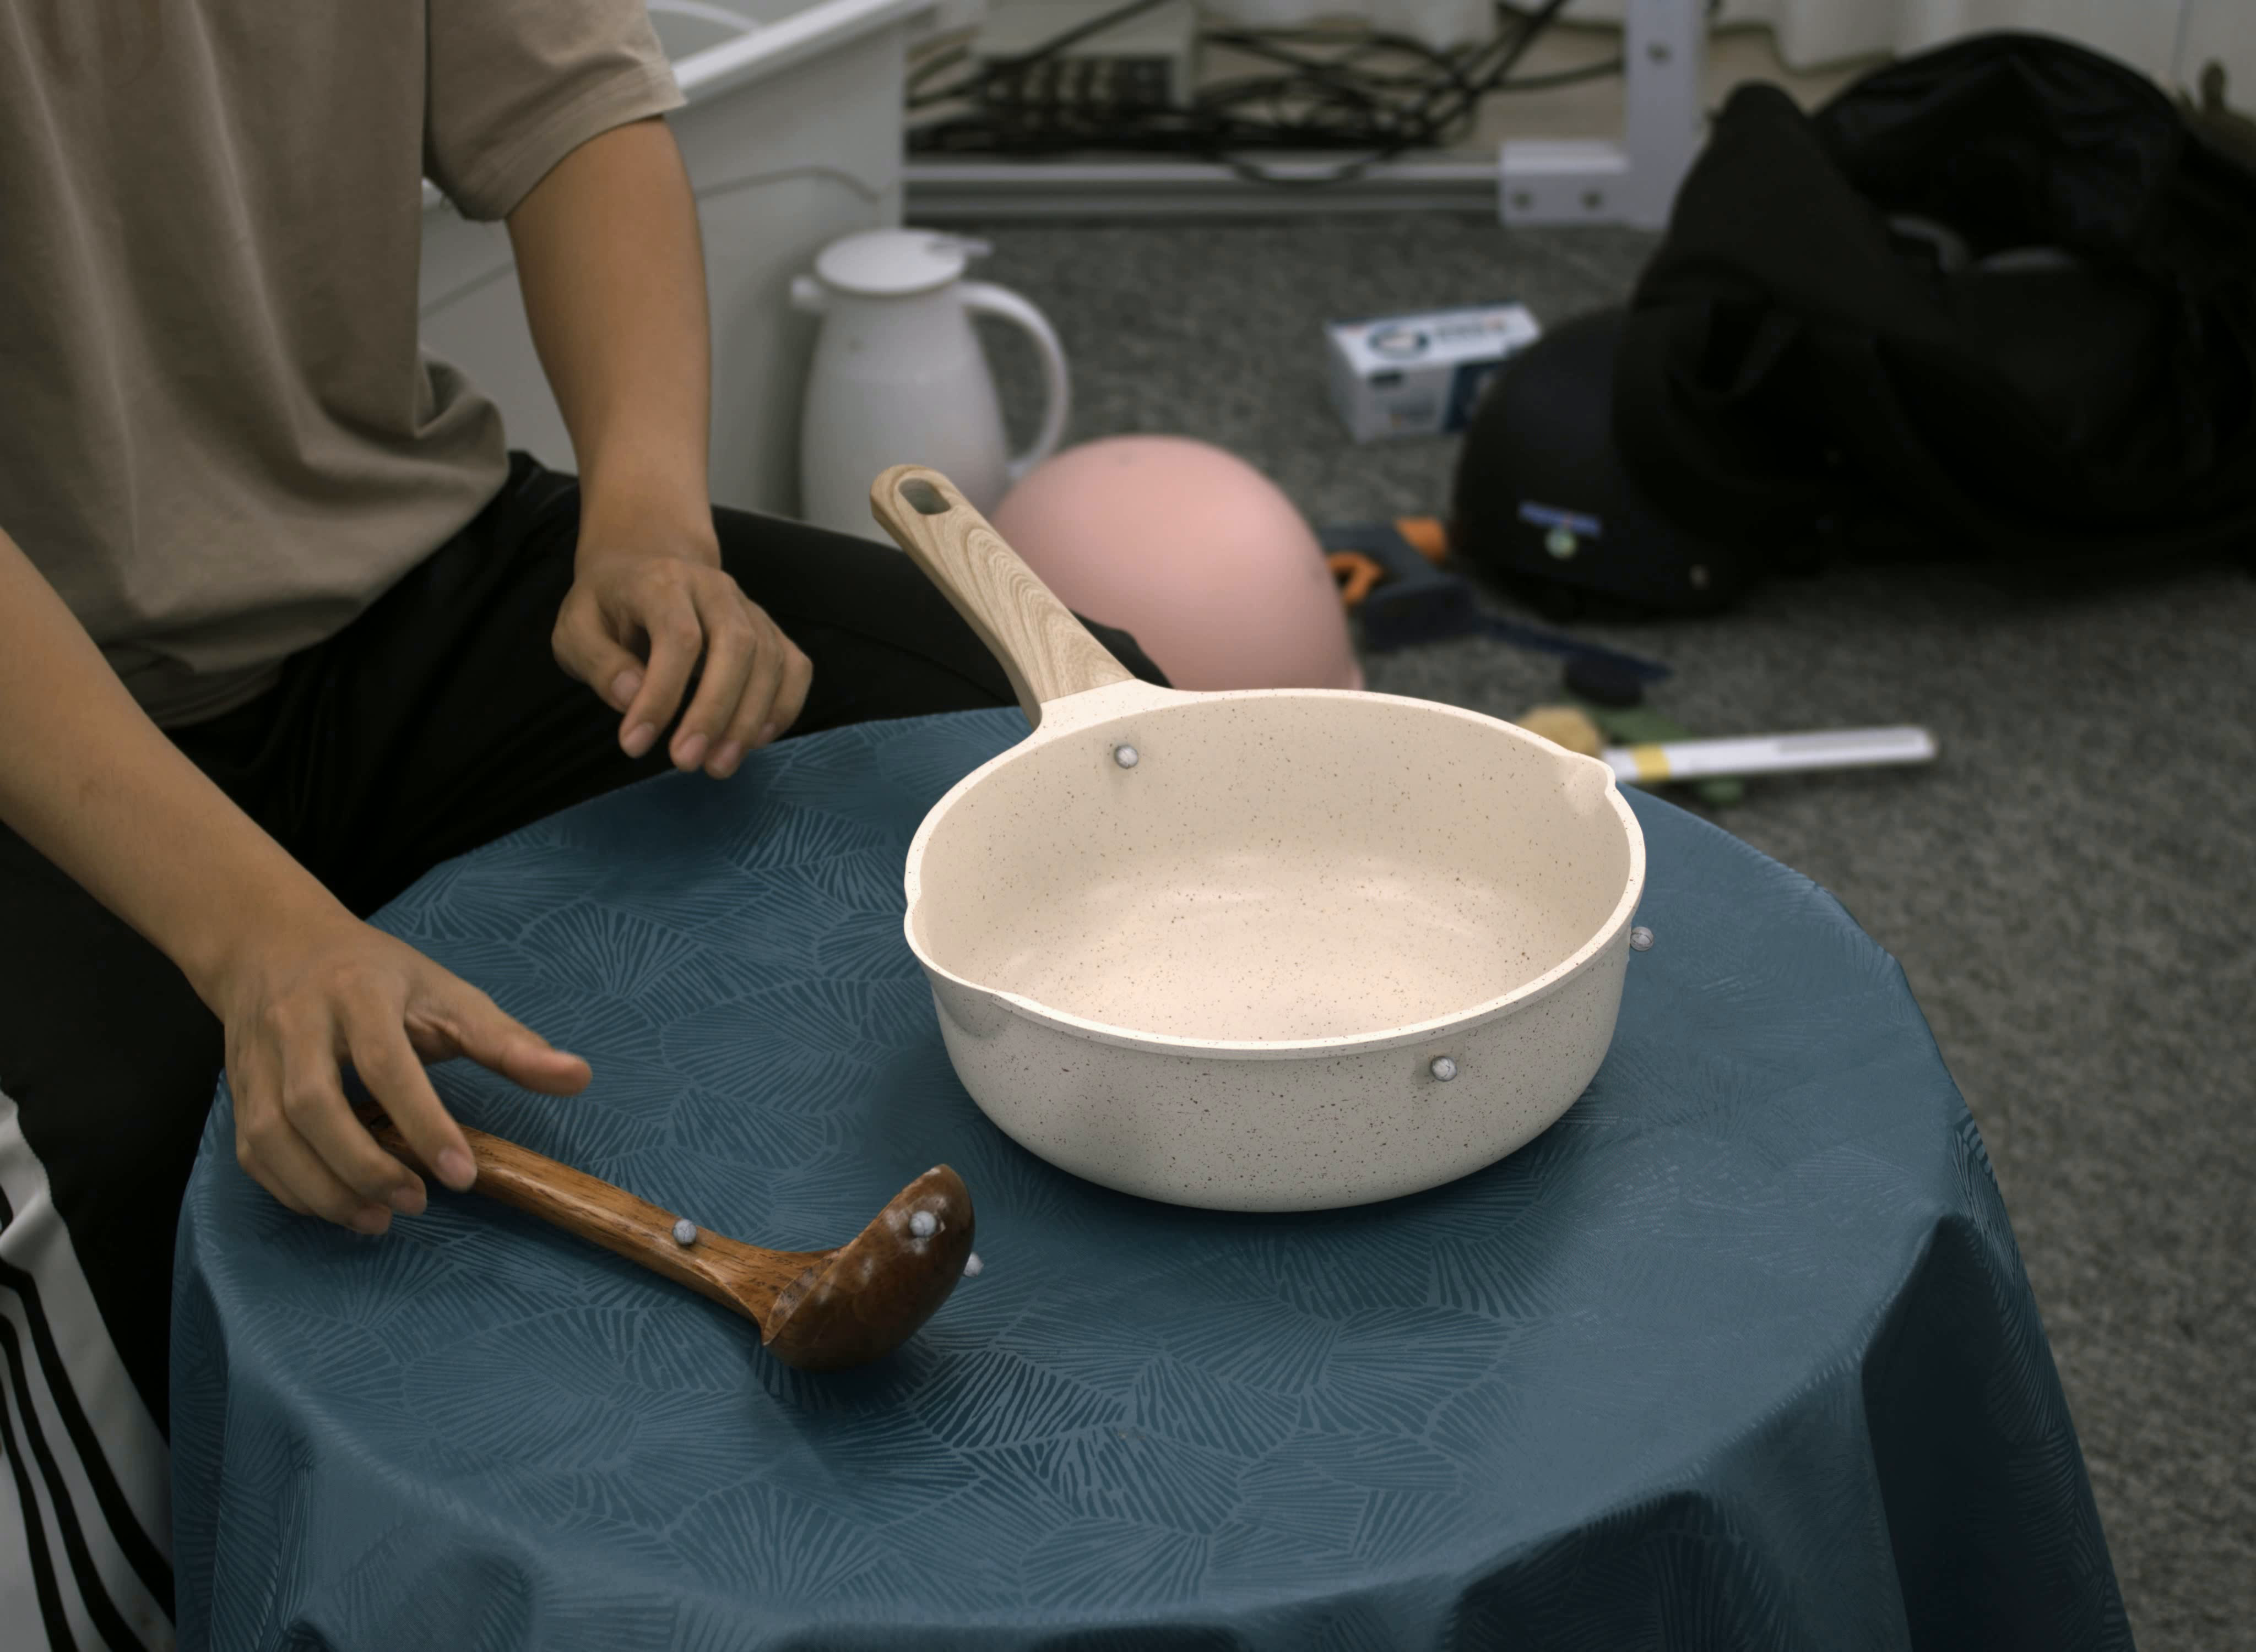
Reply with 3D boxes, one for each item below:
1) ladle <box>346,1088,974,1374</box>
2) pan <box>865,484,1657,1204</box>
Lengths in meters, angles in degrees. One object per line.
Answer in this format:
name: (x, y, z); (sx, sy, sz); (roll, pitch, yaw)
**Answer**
ladle: (-0.162, 0.111, 1.813); (0.273, 0.076, 0.083); (20, 40, 36)
pan: (0.014, 0.000, 1.987); (0.264, 0.101, 0.437); (-16, 30, -22)
